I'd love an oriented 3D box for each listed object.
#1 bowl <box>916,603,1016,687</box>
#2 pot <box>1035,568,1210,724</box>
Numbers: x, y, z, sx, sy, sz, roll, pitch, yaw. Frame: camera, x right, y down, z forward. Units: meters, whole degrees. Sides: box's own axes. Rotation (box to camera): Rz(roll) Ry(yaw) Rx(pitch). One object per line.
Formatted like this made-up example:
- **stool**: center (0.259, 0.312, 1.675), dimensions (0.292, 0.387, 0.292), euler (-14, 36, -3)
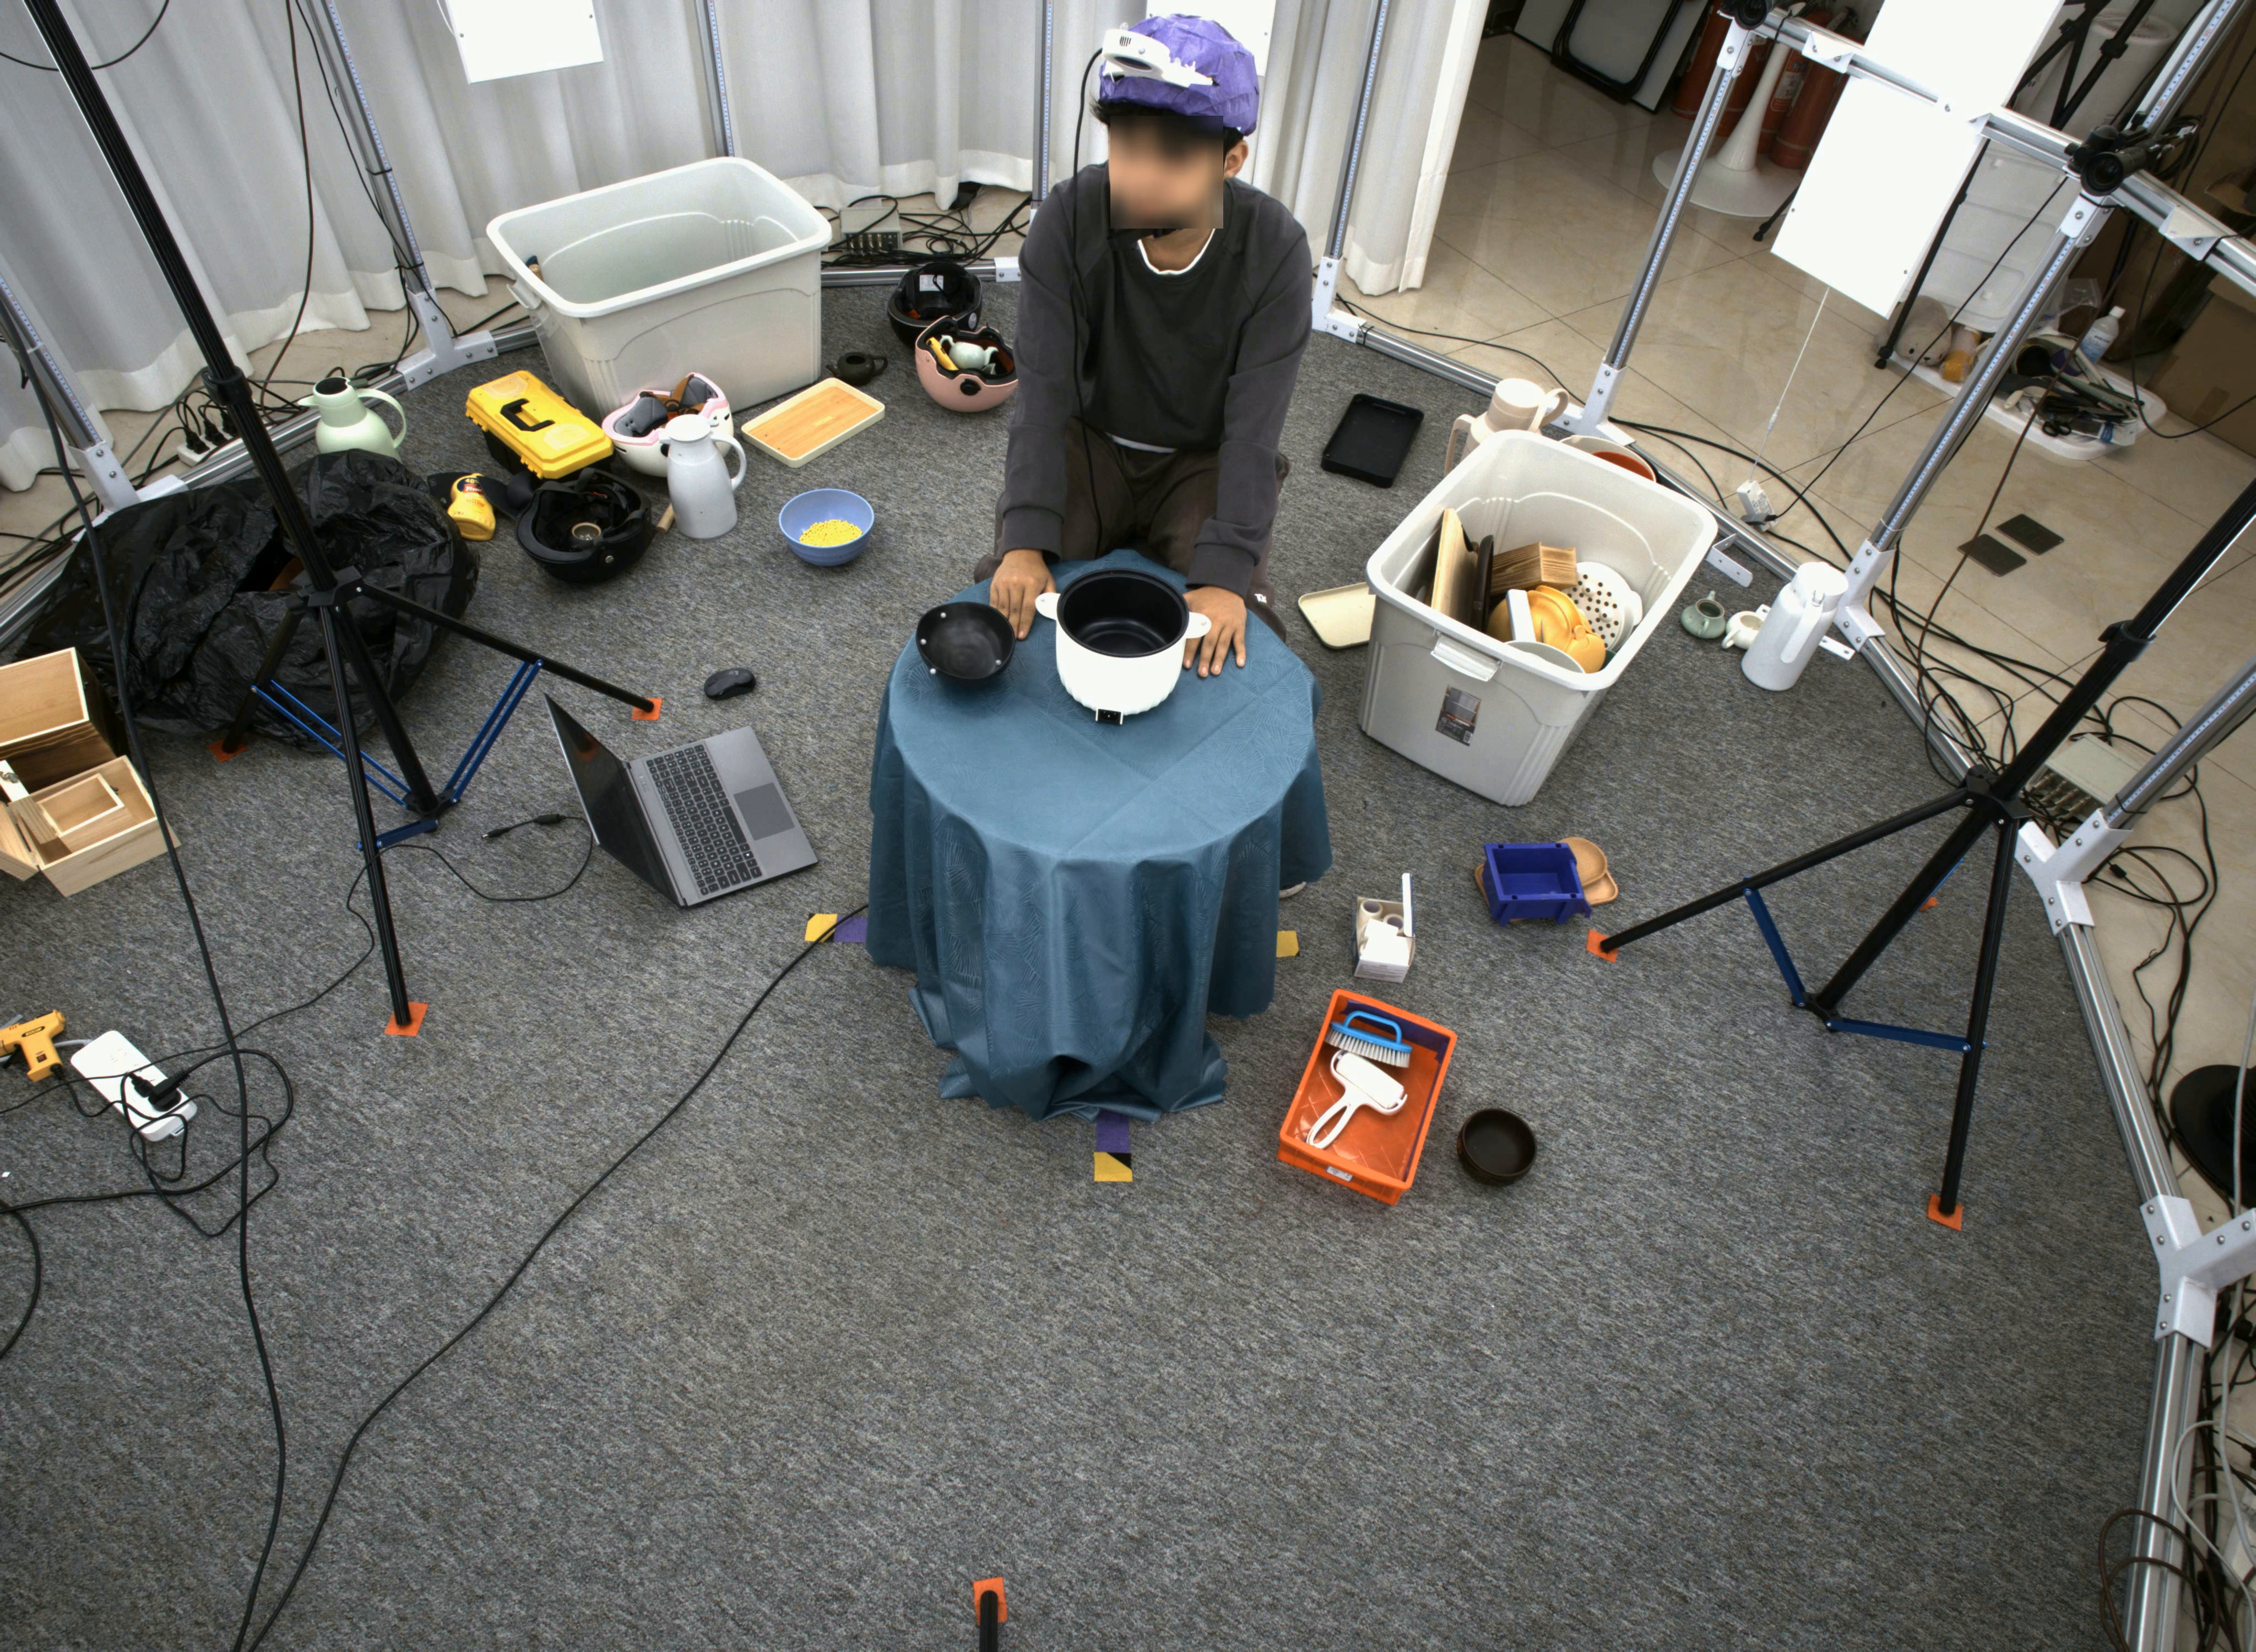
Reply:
- **bowl**: center (-0.228, -0.248, 1.822), dimensions (0.137, 0.065, 0.174), euler (-9, 49, -12)
- **pot**: center (-0.012, -0.254, 1.796), dimensions (0.240, 0.139, 0.195), euler (8, 52, 1)
